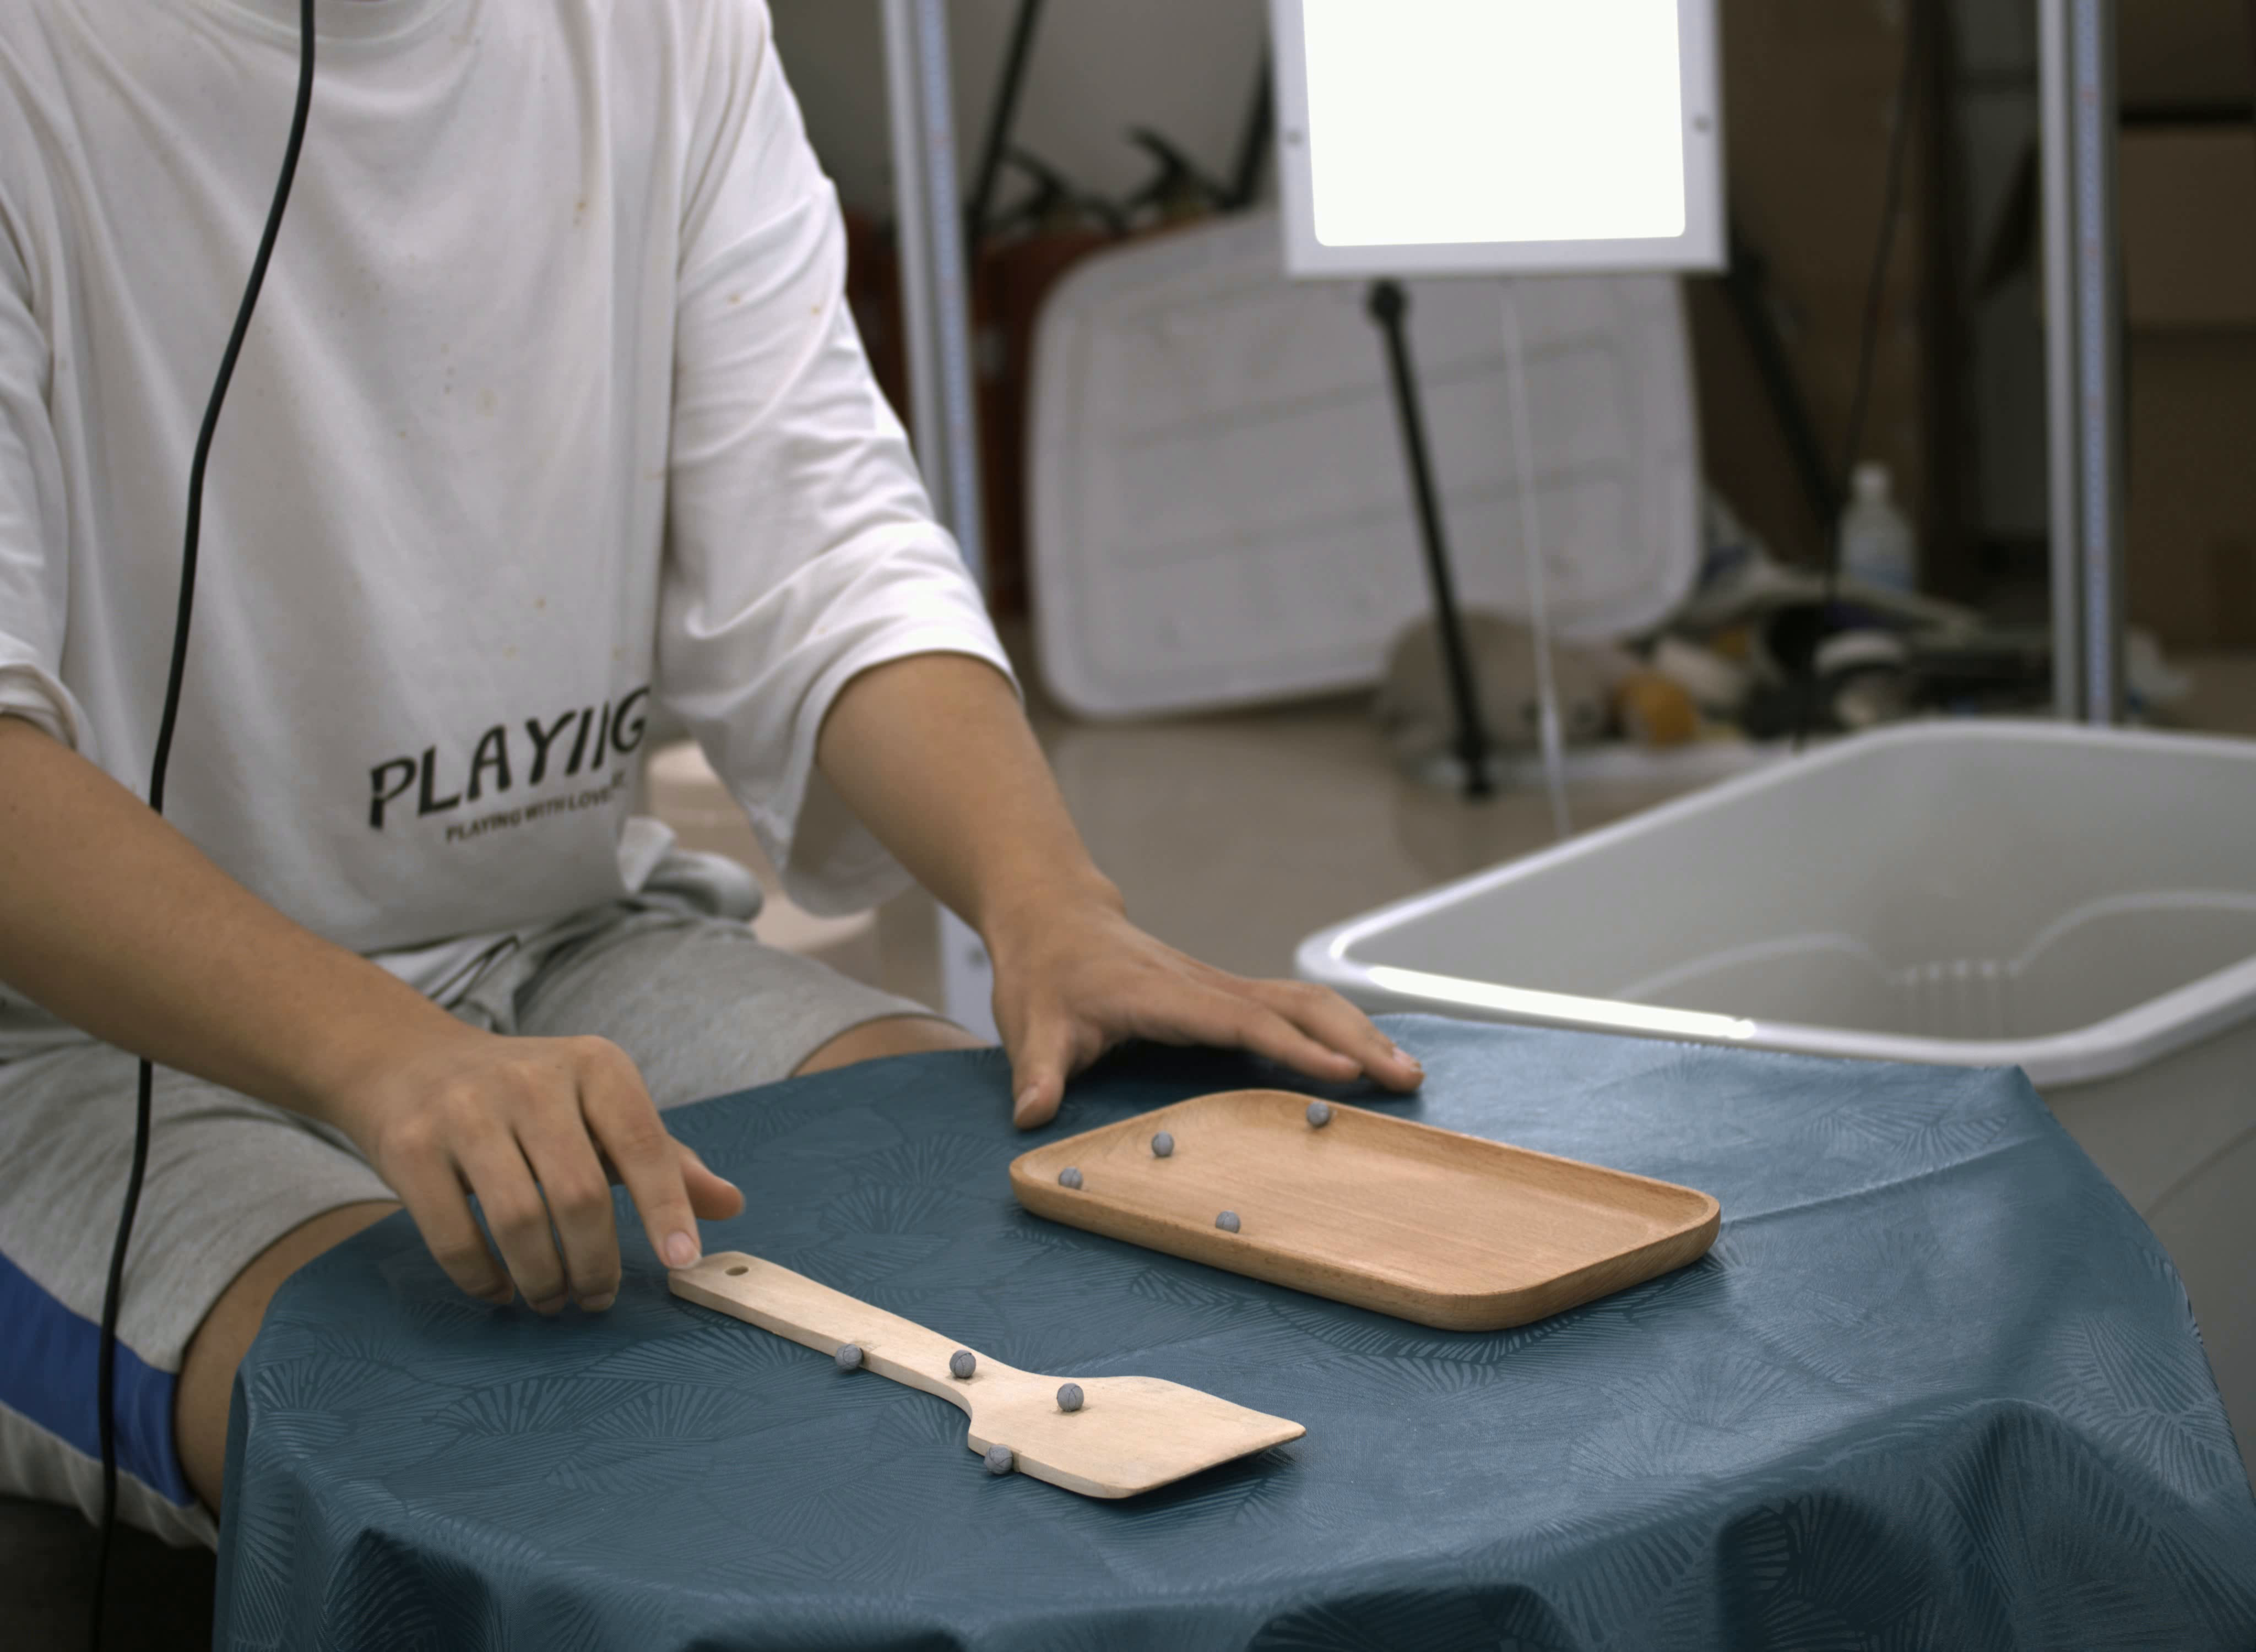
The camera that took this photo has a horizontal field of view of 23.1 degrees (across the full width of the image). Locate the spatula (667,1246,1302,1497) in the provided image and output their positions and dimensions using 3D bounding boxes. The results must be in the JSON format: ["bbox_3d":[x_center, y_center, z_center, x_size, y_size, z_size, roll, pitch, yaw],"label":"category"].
[{"bbox_3d":[-0.060,0.168,1.730,0.070,0.011,0.299,-16,17,-33],"label":"spatula"}]

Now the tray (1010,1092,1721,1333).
[{"bbox_3d":[0.077,0.127,1.836,0.127,0.023,0.256,-18,19,-35],"label":"tray"}]
